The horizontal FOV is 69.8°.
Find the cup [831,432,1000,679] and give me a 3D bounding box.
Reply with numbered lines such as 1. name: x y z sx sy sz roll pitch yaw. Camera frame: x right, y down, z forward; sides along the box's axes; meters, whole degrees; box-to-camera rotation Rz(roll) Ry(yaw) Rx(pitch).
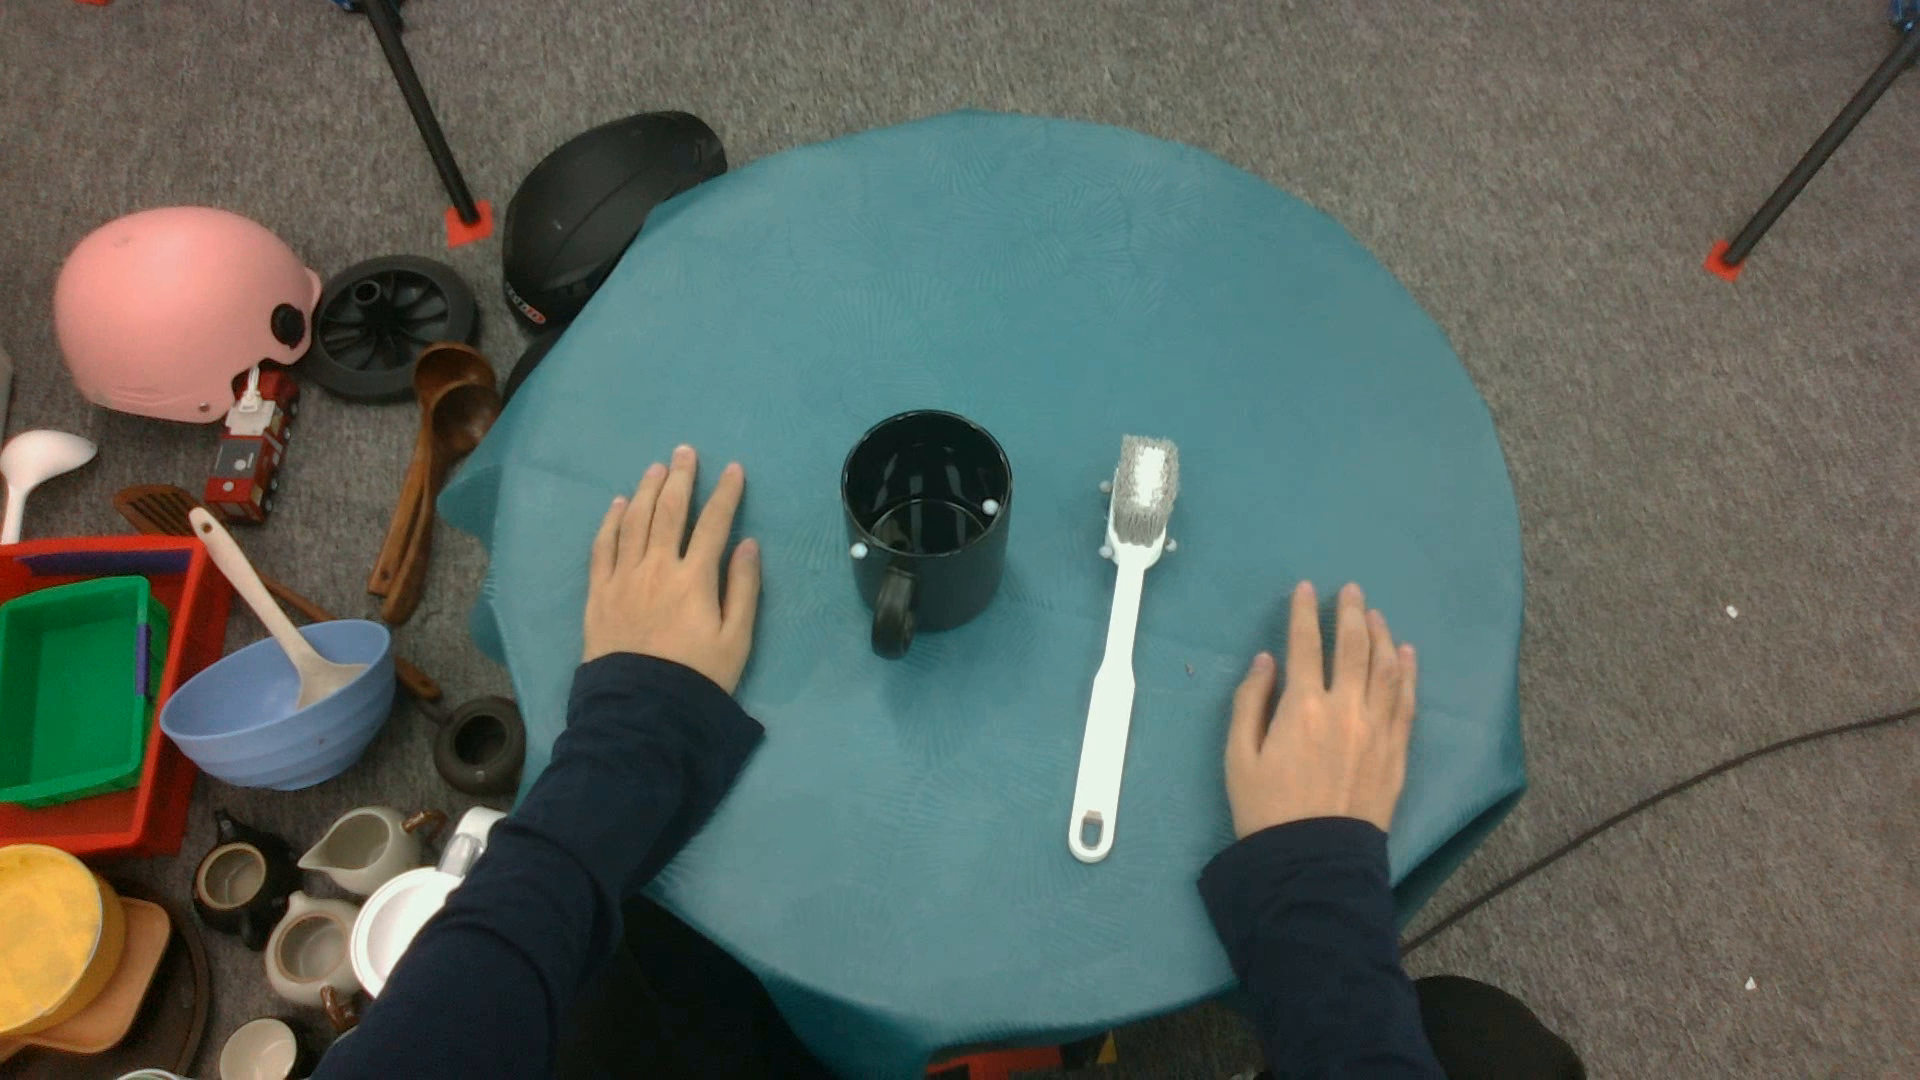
1. cup: -0.030 0.018 0.750 0.088 0.105 0.124 17 65 5

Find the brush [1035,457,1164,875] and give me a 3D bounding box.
1. brush: 0.078 0.062 0.761 0.034 0.050 0.244 14 63 0
